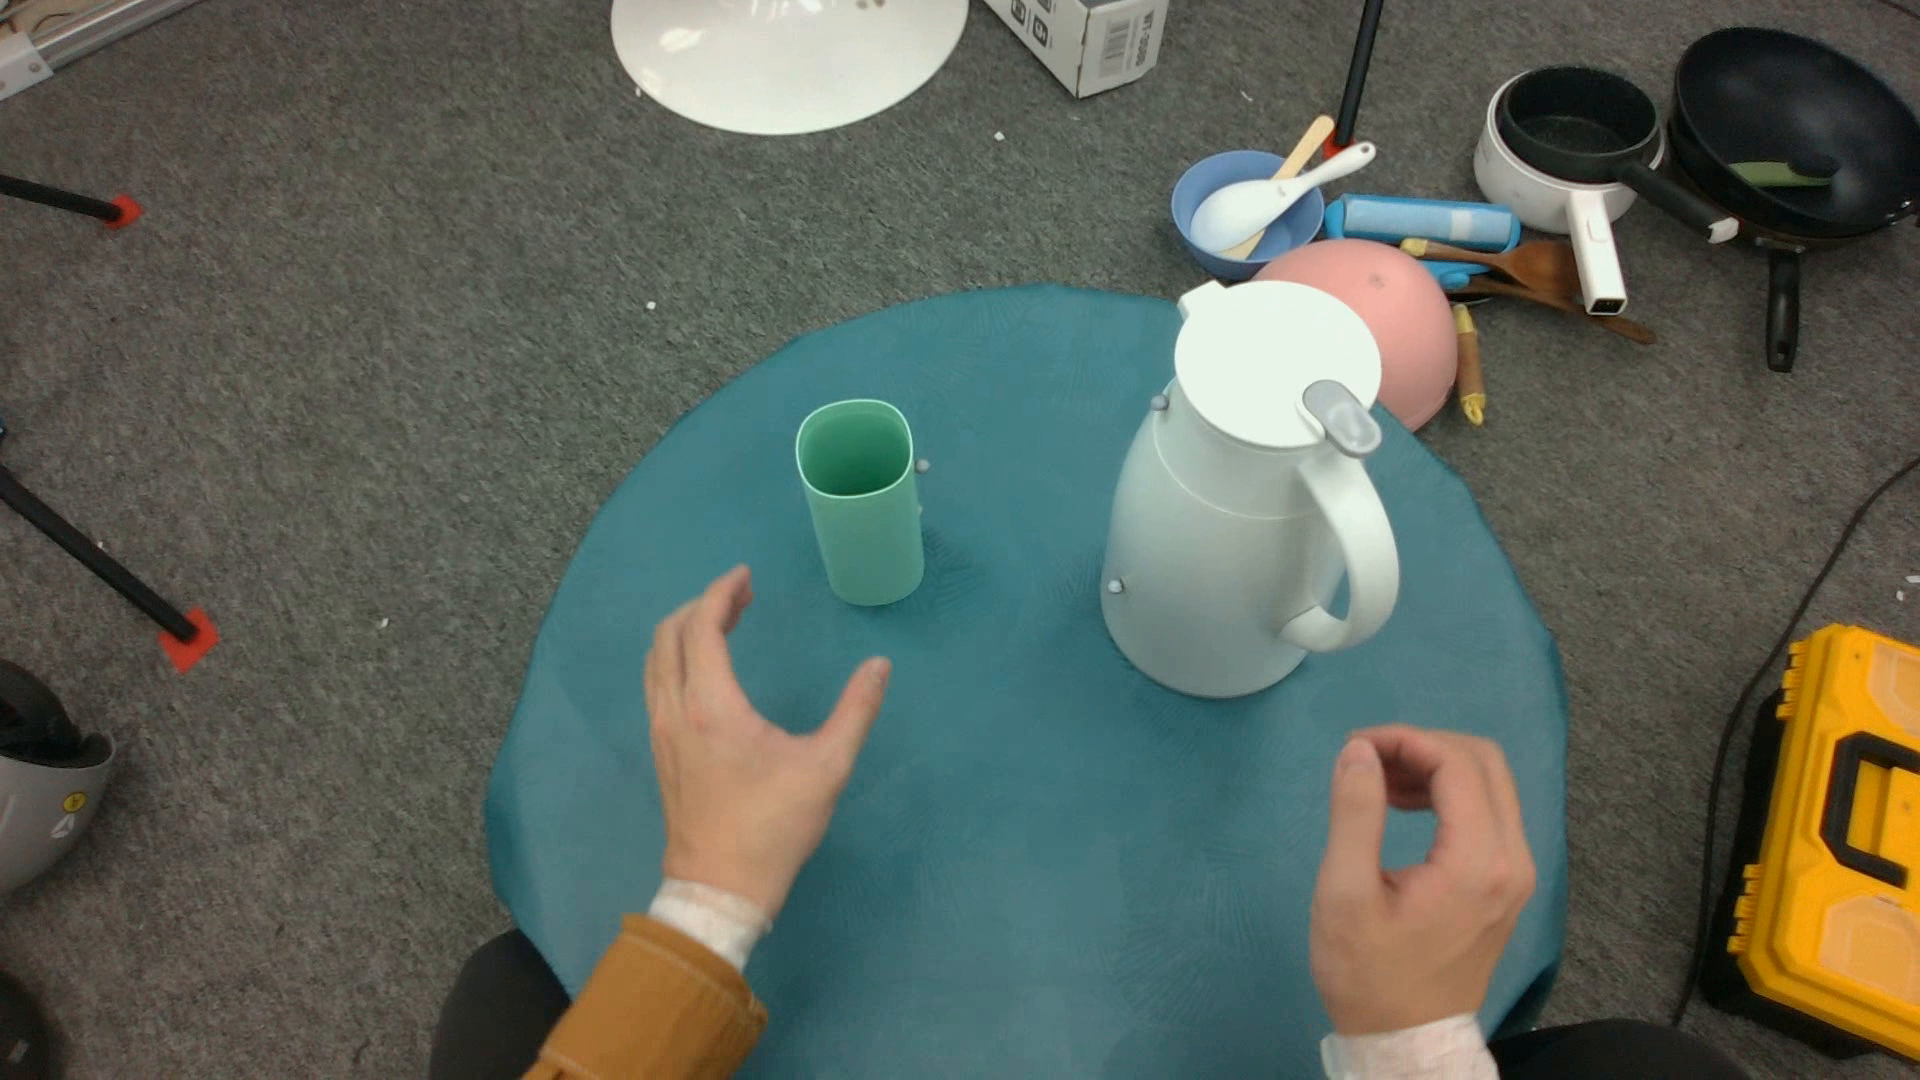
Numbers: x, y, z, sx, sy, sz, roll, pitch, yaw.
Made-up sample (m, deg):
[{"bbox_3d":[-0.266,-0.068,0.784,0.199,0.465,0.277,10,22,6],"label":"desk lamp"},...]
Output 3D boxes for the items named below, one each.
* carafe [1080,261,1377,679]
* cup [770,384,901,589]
[{"bbox_3d":[0.146,-0.021,0.713,0.133,0.247,0.168,-29,65,-14],"label":"carafe"},{"bbox_3d":[-0.068,-0.026,0.789,0.067,0.132,0.067,-1,62,1],"label":"cup"}]
